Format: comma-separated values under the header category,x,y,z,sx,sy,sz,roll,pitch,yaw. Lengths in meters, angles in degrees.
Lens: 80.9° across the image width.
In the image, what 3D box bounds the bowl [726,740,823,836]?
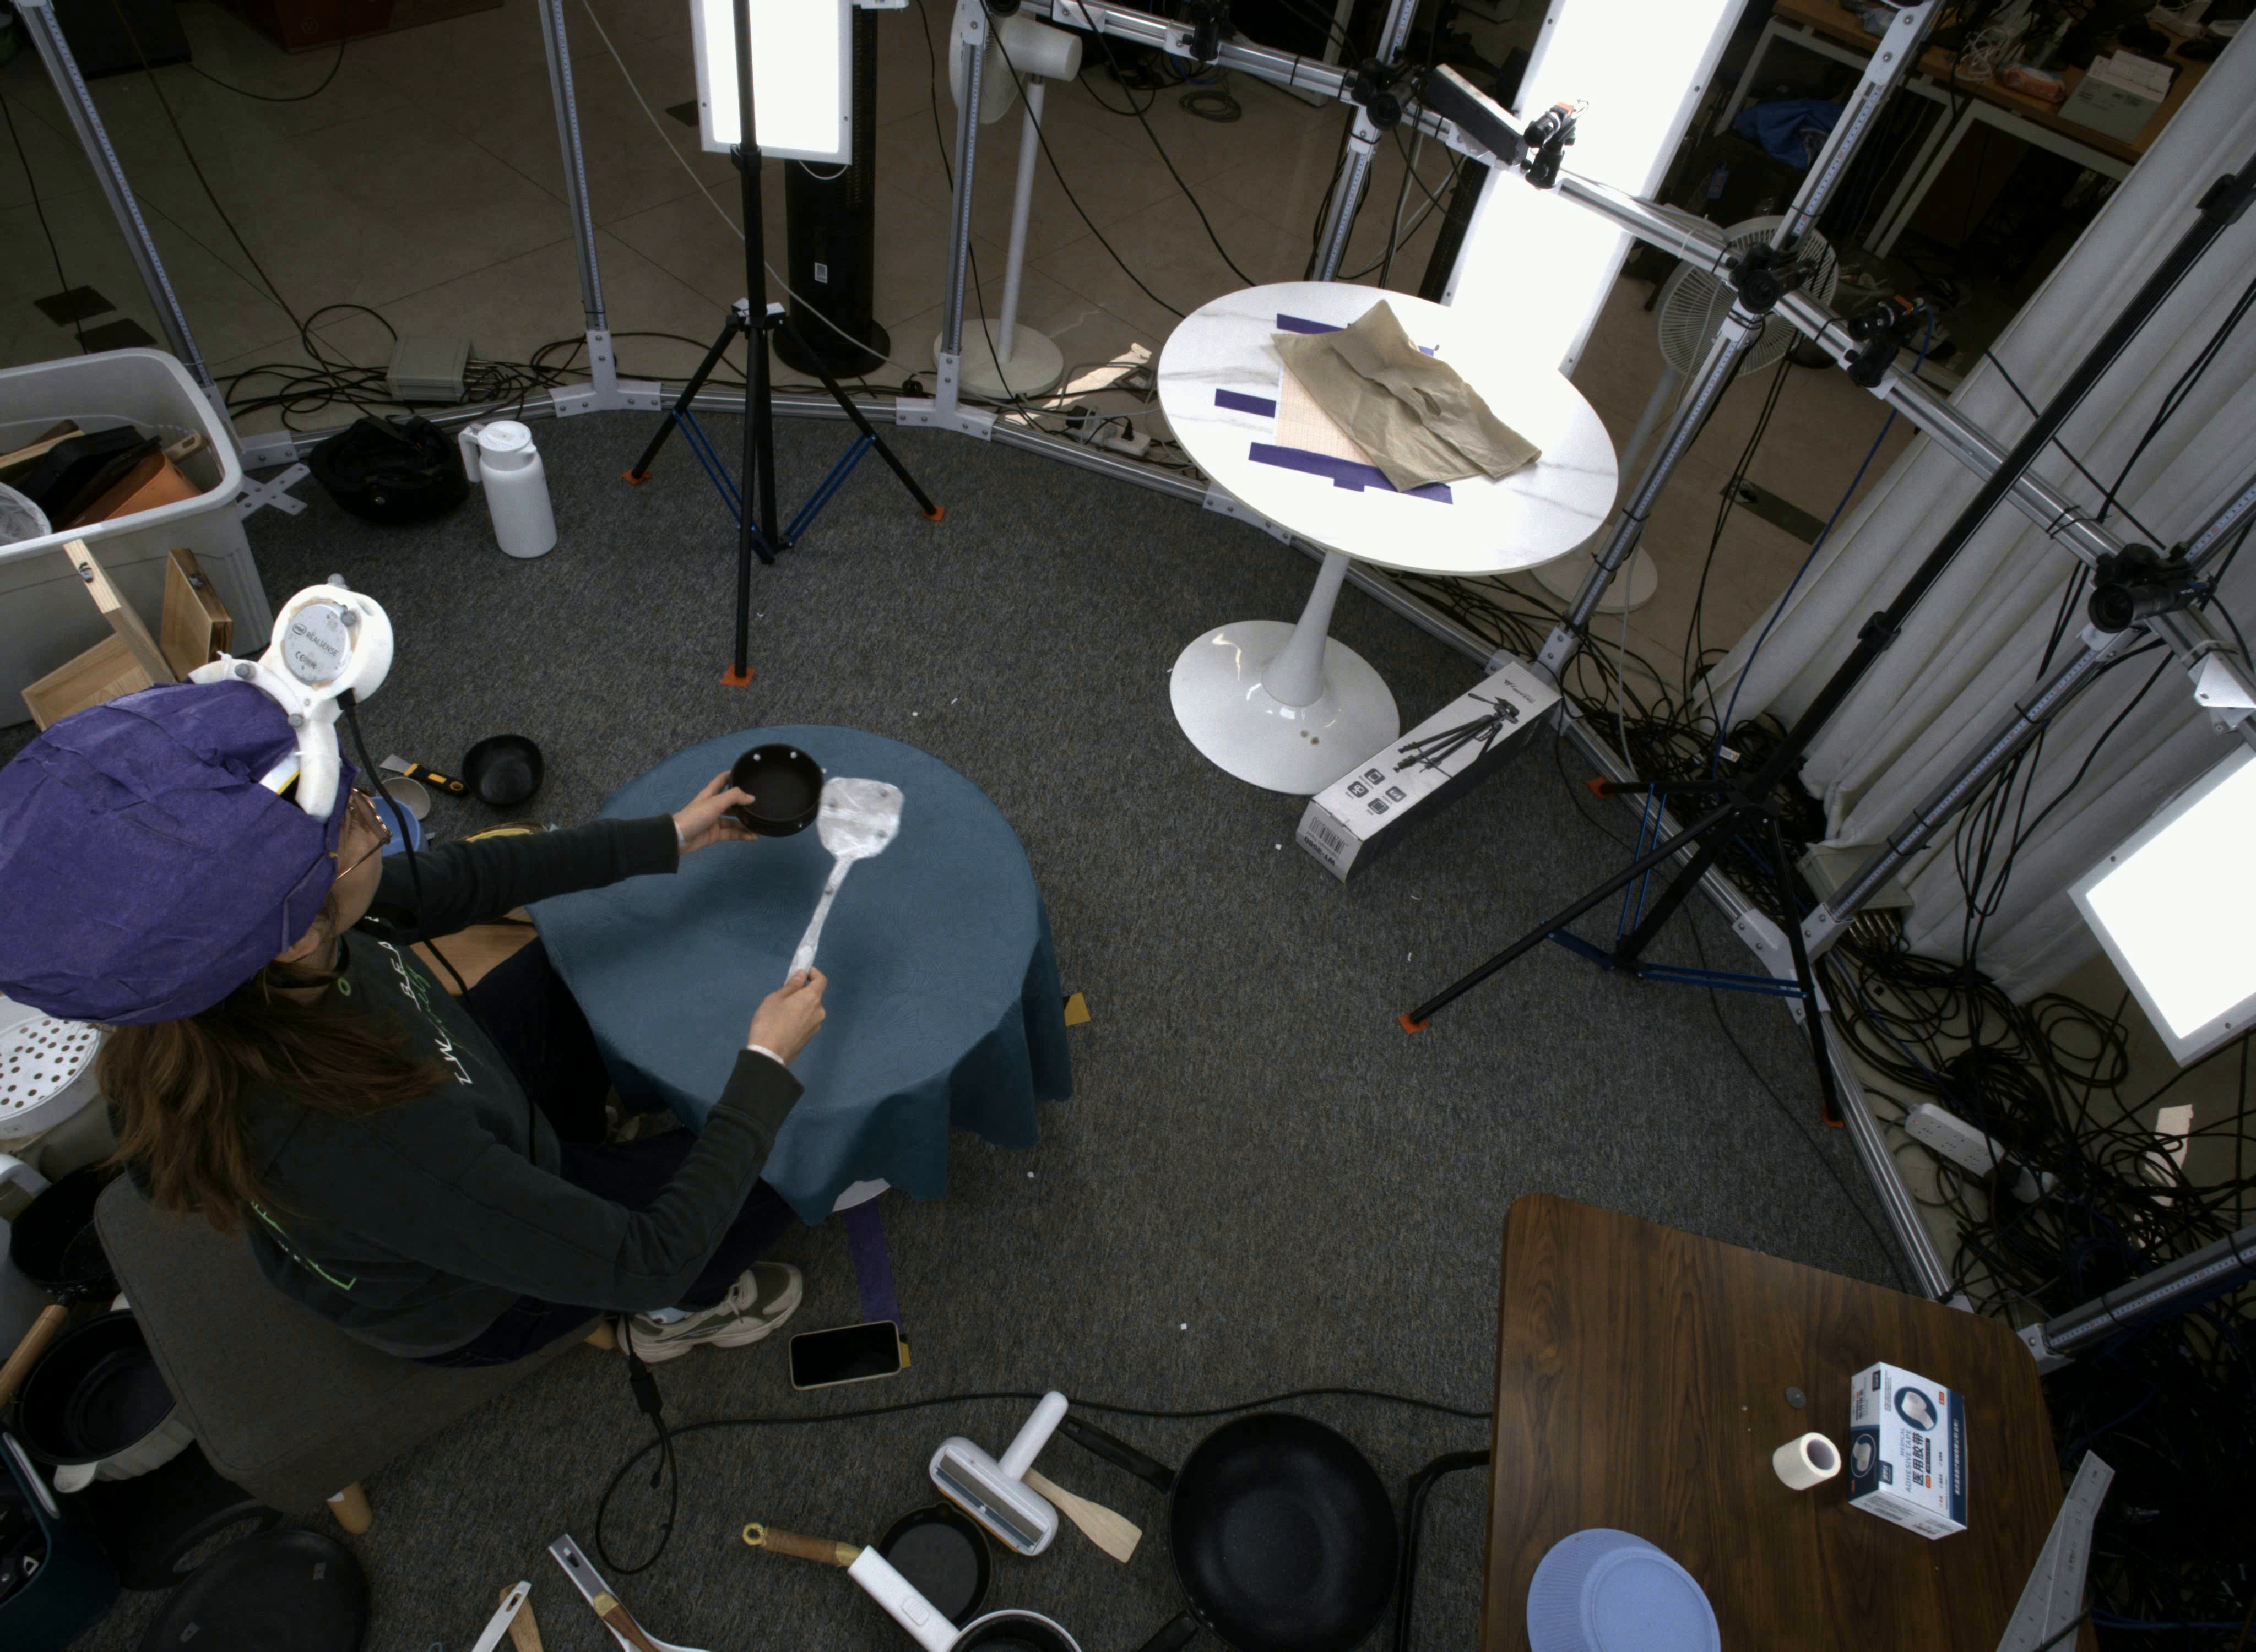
category,x,y,z,sx,sy,sz,roll,pitch,yaw
bowl,-0.439,-0.040,1.609,0.118,0.071,0.116,9,56,-12

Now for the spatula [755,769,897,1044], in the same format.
category,x,y,z,sx,sy,sz,roll,pitch,yaw
spatula,-0.347,0.080,1.446,0.098,0.046,0.359,11,48,0
